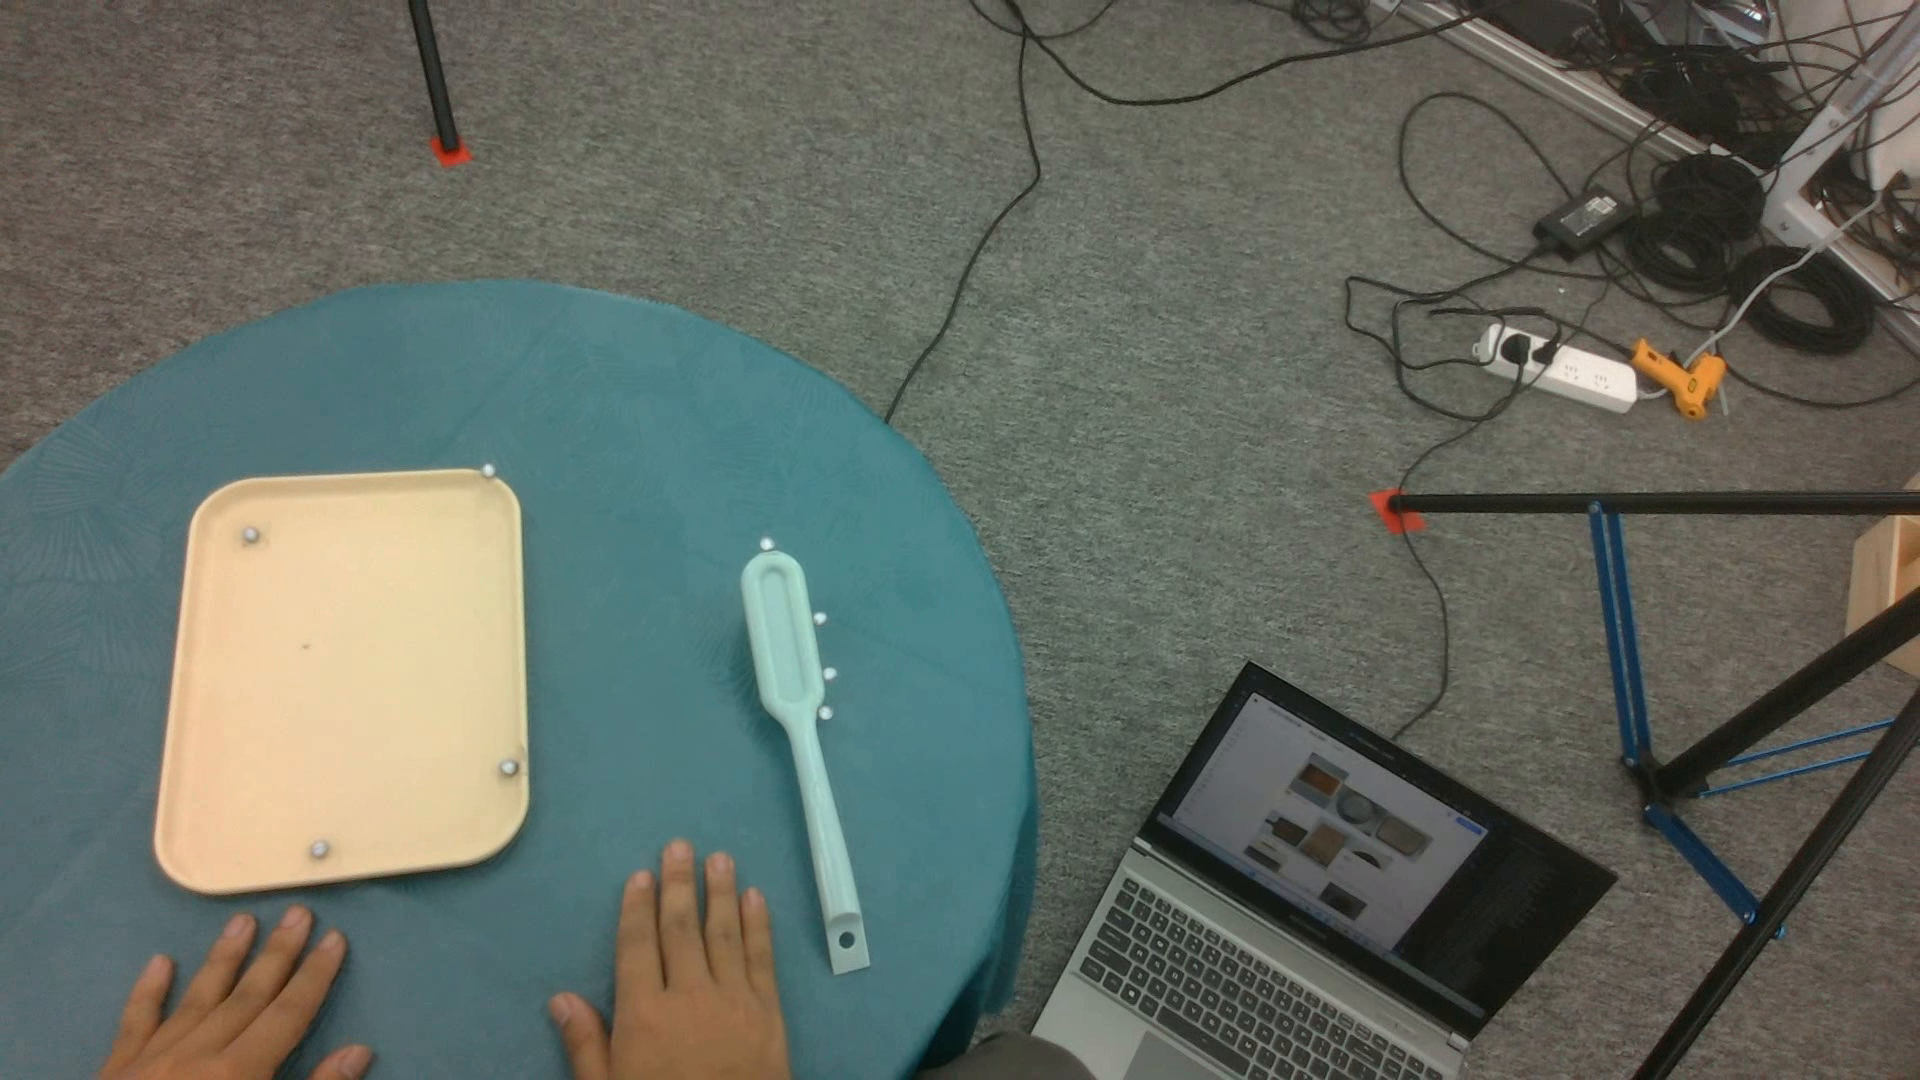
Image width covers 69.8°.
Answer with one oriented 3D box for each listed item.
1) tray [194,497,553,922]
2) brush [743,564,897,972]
[{"bbox_3d":[-0.315,0.083,0.746,0.171,0.017,0.240,-7,57,-15],"label":"tray"},{"bbox_3d":[-0.076,0.122,0.758,0.038,0.049,0.229,-15,68,-13],"label":"brush"}]
